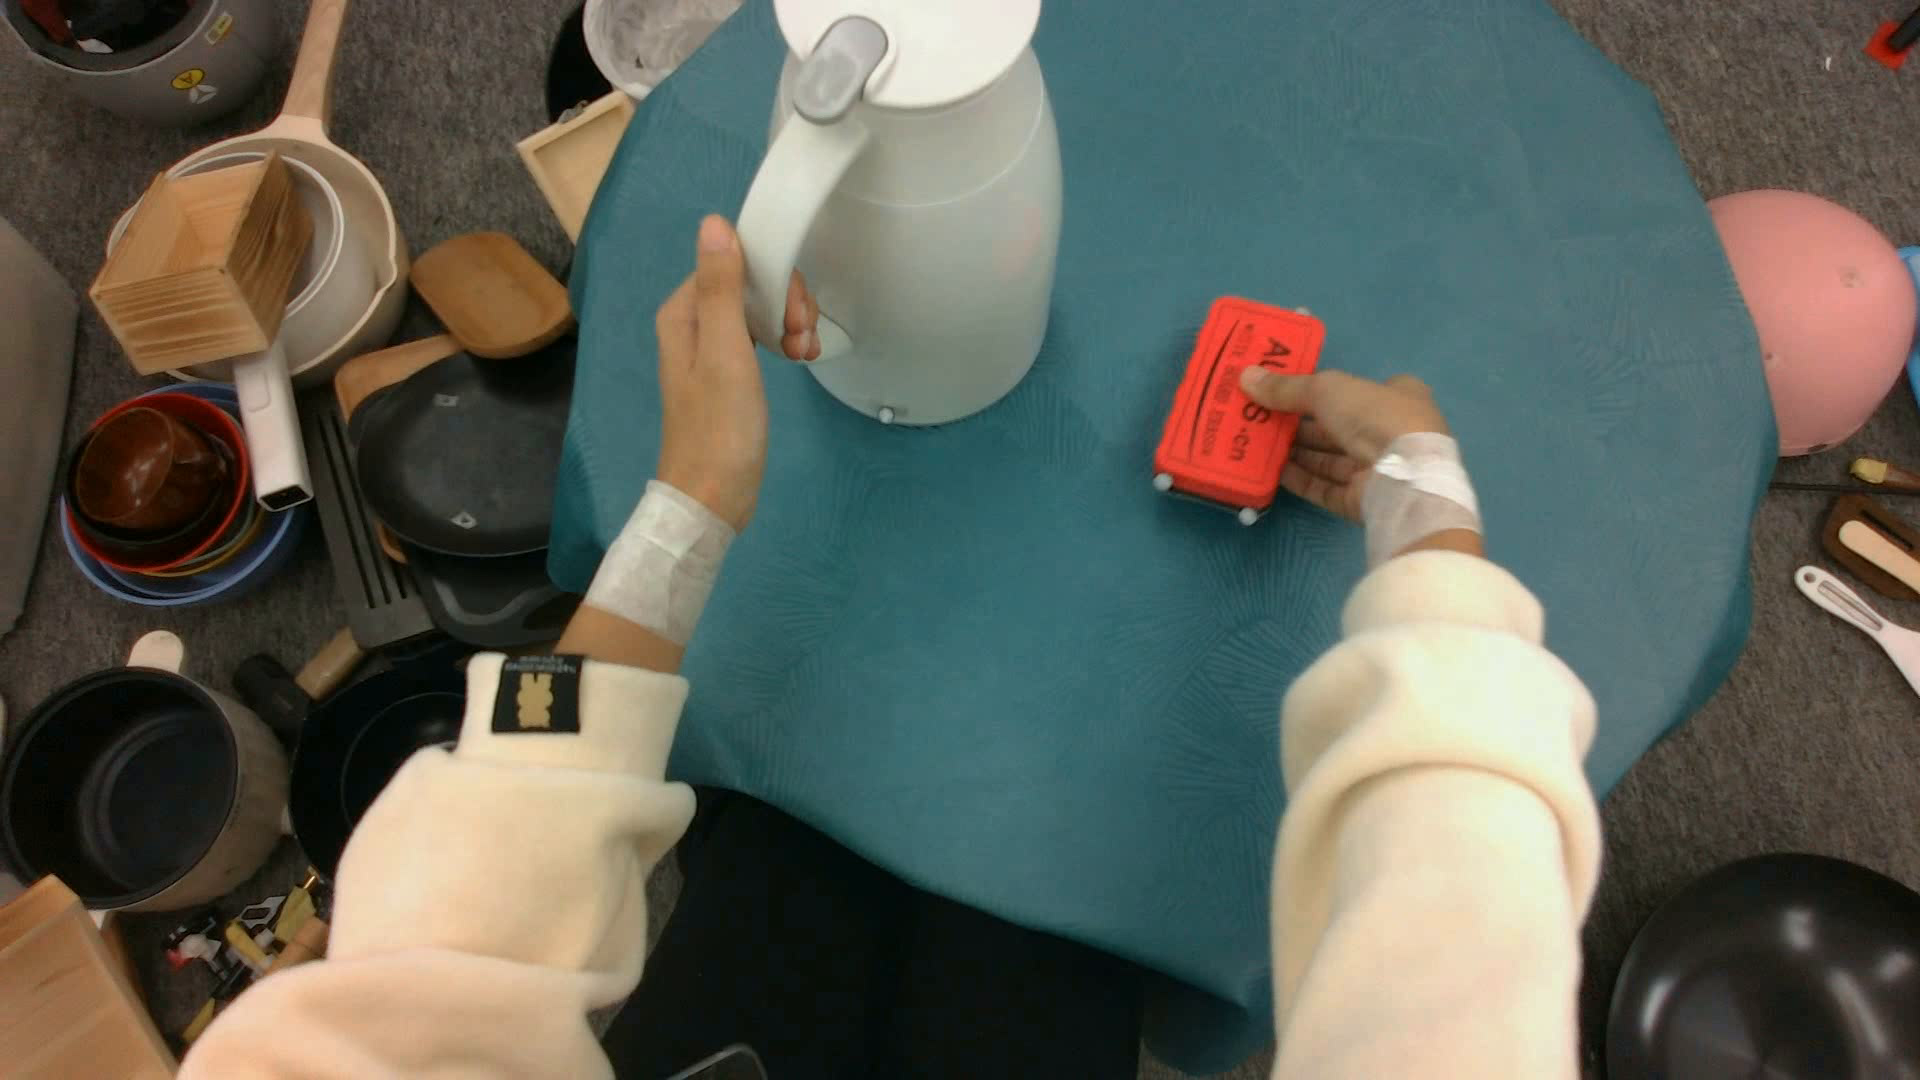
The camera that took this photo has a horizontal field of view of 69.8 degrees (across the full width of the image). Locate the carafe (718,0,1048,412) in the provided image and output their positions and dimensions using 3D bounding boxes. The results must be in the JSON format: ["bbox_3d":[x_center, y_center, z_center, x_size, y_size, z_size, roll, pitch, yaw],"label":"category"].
[{"bbox_3d":[-0.036,-0.145,0.578,0.132,0.248,0.168,34,76,8],"label":"carafe"}]

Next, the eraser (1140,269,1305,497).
[{"bbox_3d":[0.126,-0.076,0.660,0.059,0.023,0.108,15,68,10],"label":"eraser"}]
